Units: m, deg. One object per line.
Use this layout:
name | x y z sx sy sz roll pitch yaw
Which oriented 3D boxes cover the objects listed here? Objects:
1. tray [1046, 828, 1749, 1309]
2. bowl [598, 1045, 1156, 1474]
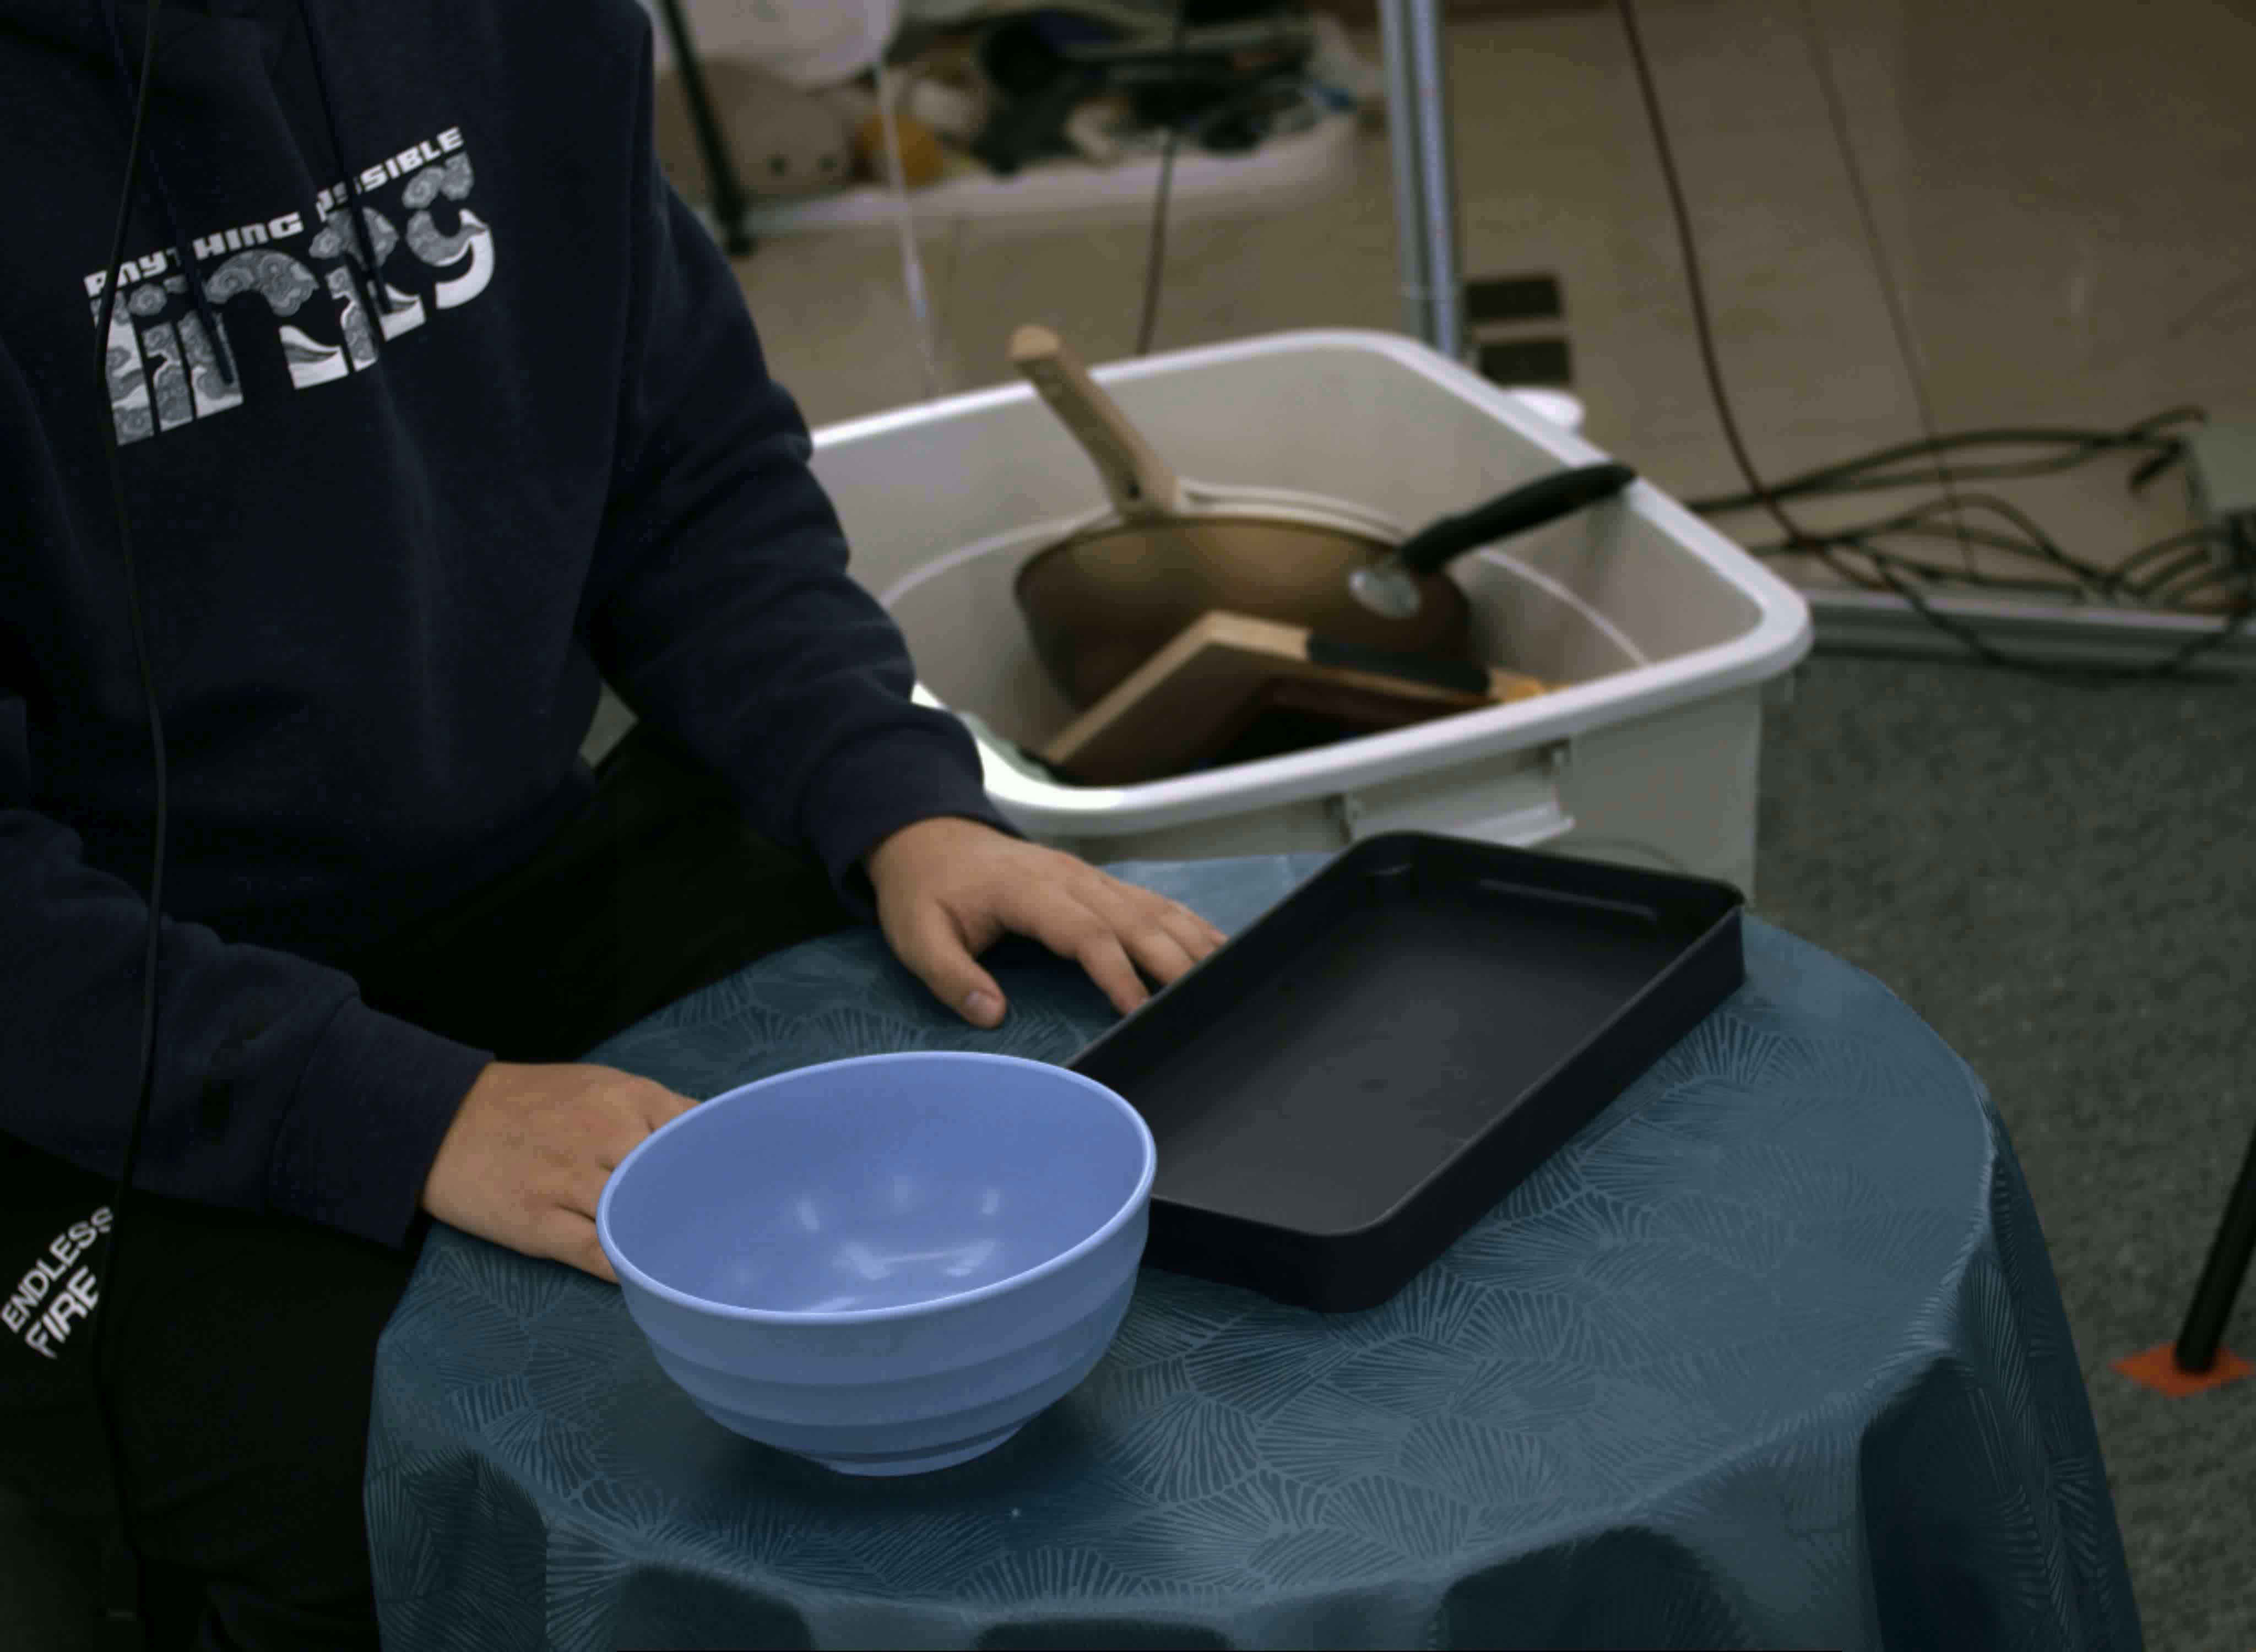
tray | 0.094 0.088 2.191 0.183 0.037 0.314 10 29 33
bowl | -0.083 0.164 1.998 0.196 0.097 0.193 -6 26 3
